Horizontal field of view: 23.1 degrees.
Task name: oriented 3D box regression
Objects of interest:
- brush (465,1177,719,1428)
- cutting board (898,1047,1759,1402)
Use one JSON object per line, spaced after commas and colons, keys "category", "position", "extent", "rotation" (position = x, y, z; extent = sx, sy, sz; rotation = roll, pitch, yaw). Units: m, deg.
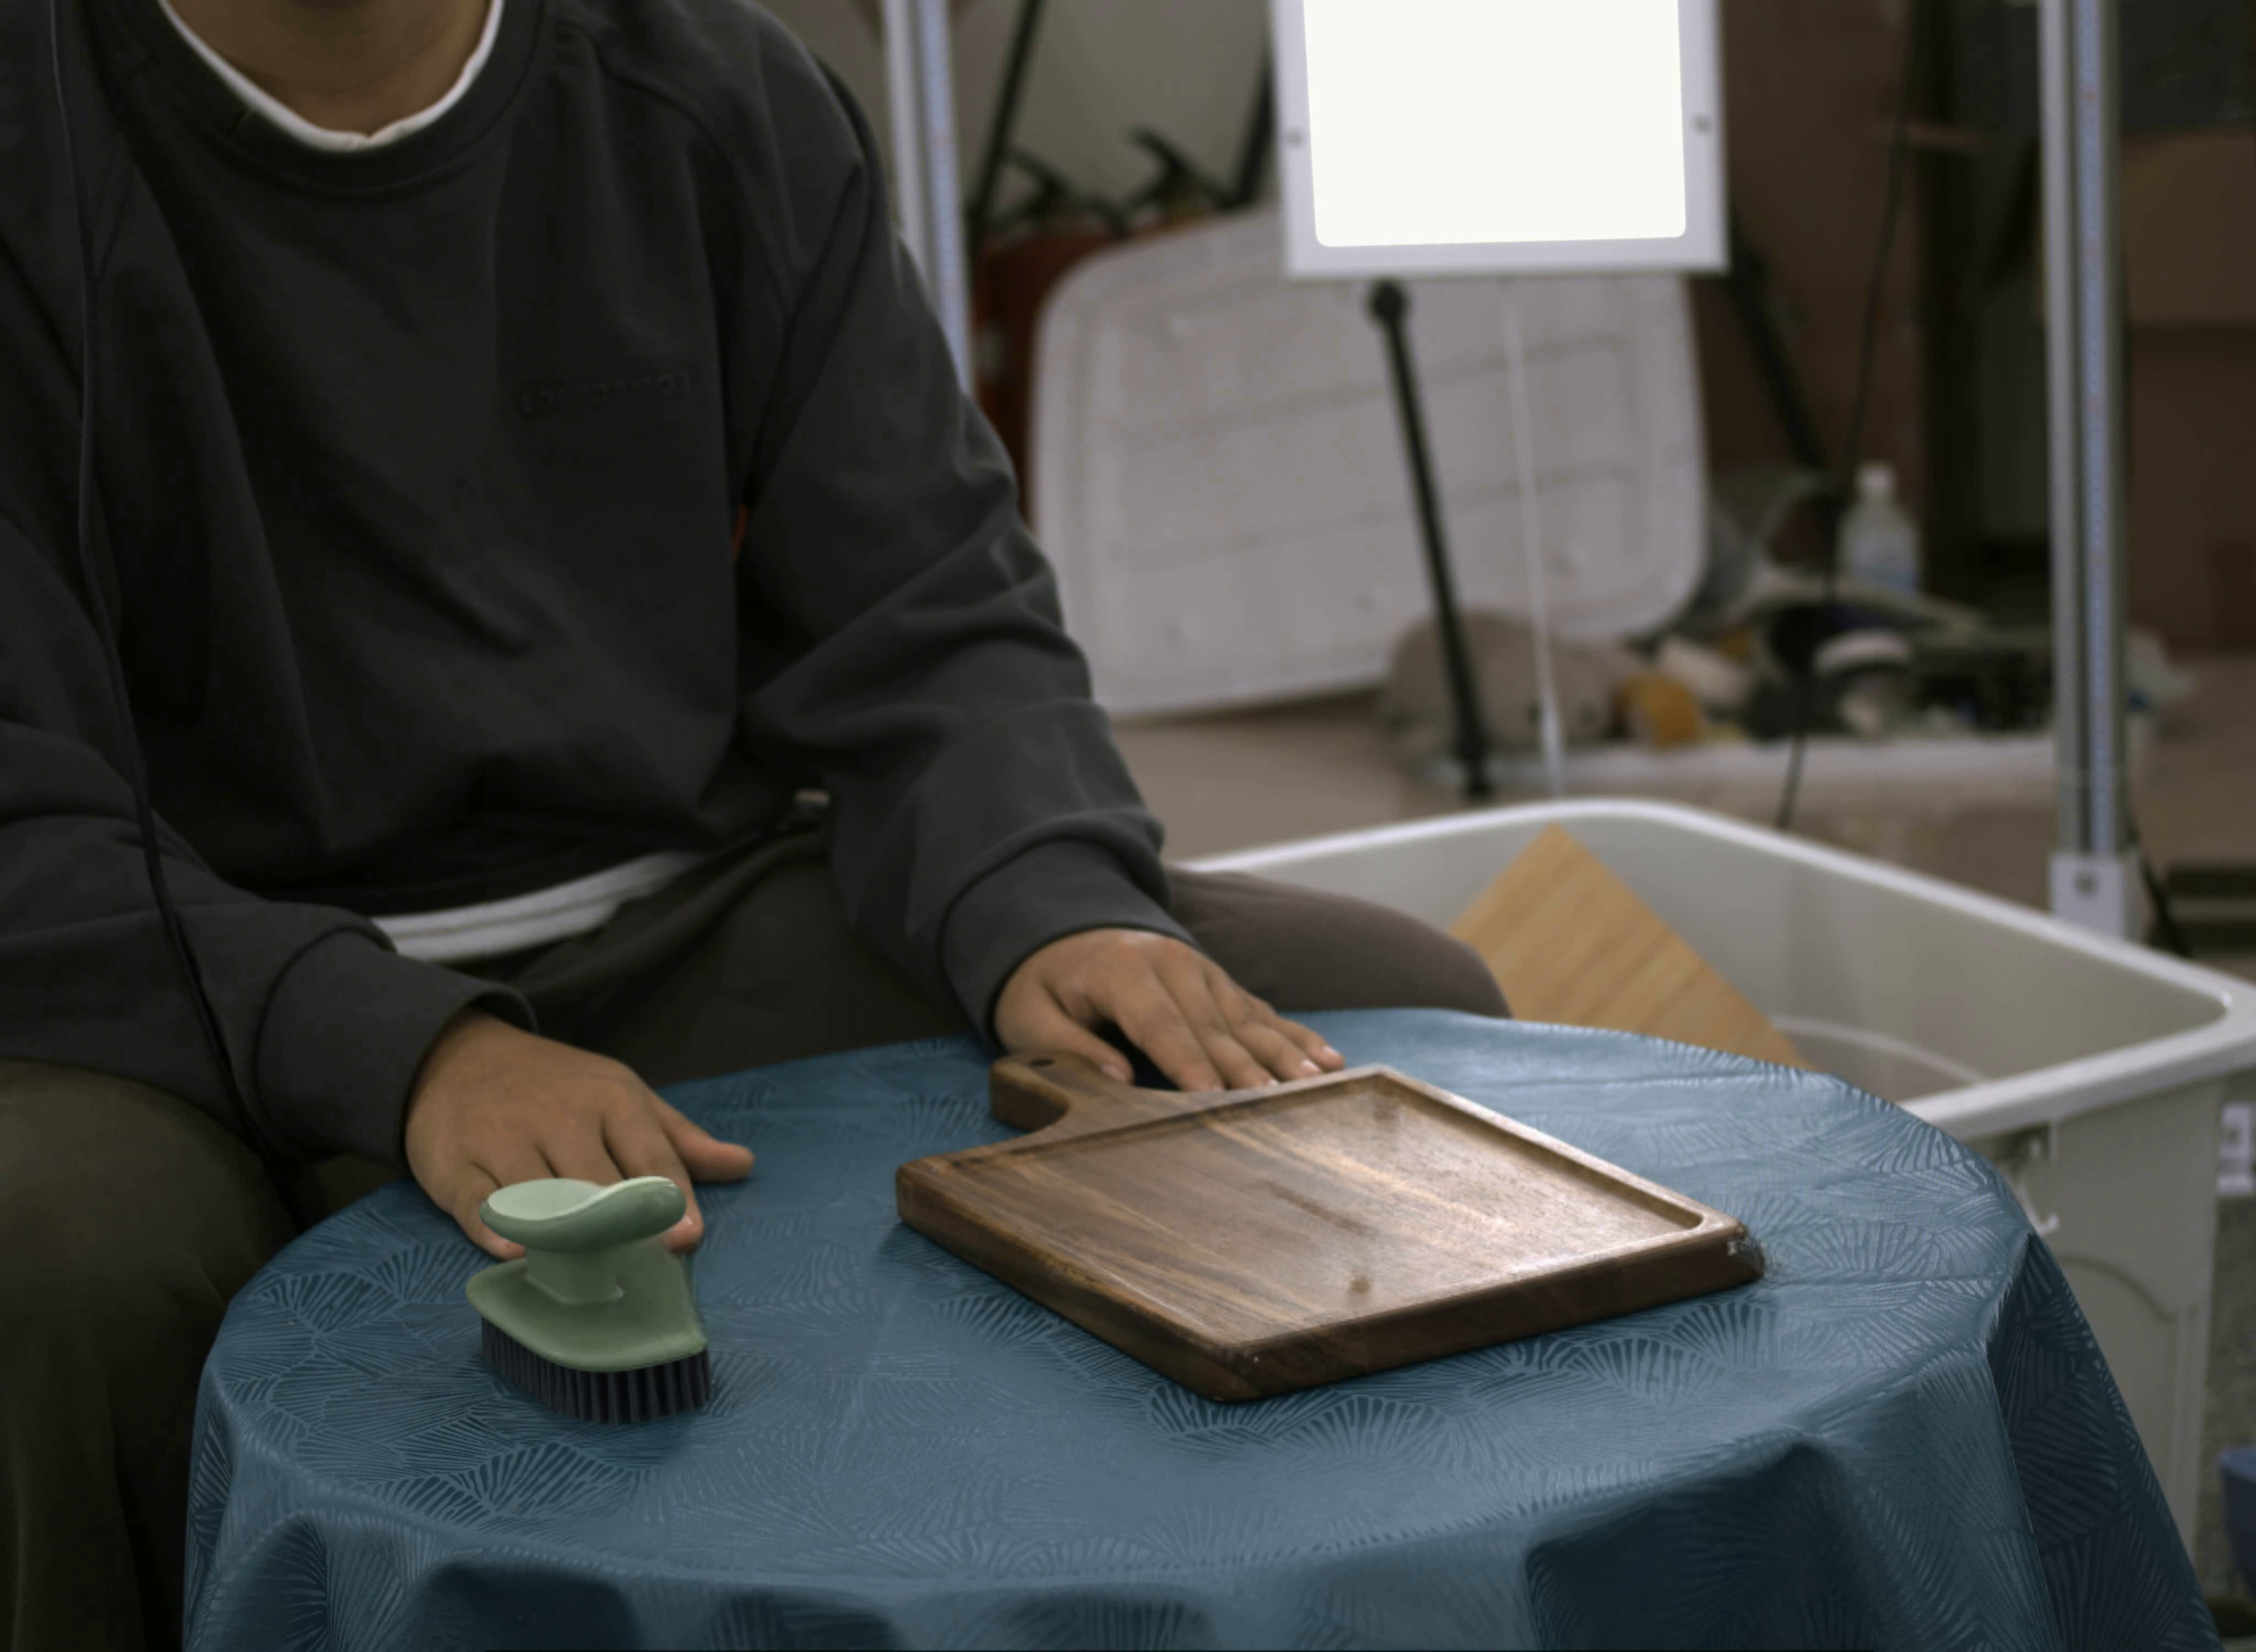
{"category": "brush", "position": [-0.171, 0.150, 1.753], "extent": [0.058, 0.076, 0.125], "rotation": [-11, 1, -26]}
{"category": "cutting board", "position": [0.040, 0.121, 1.862], "extent": [0.197, 0.023, 0.358], "rotation": [-11, 14, -24]}
